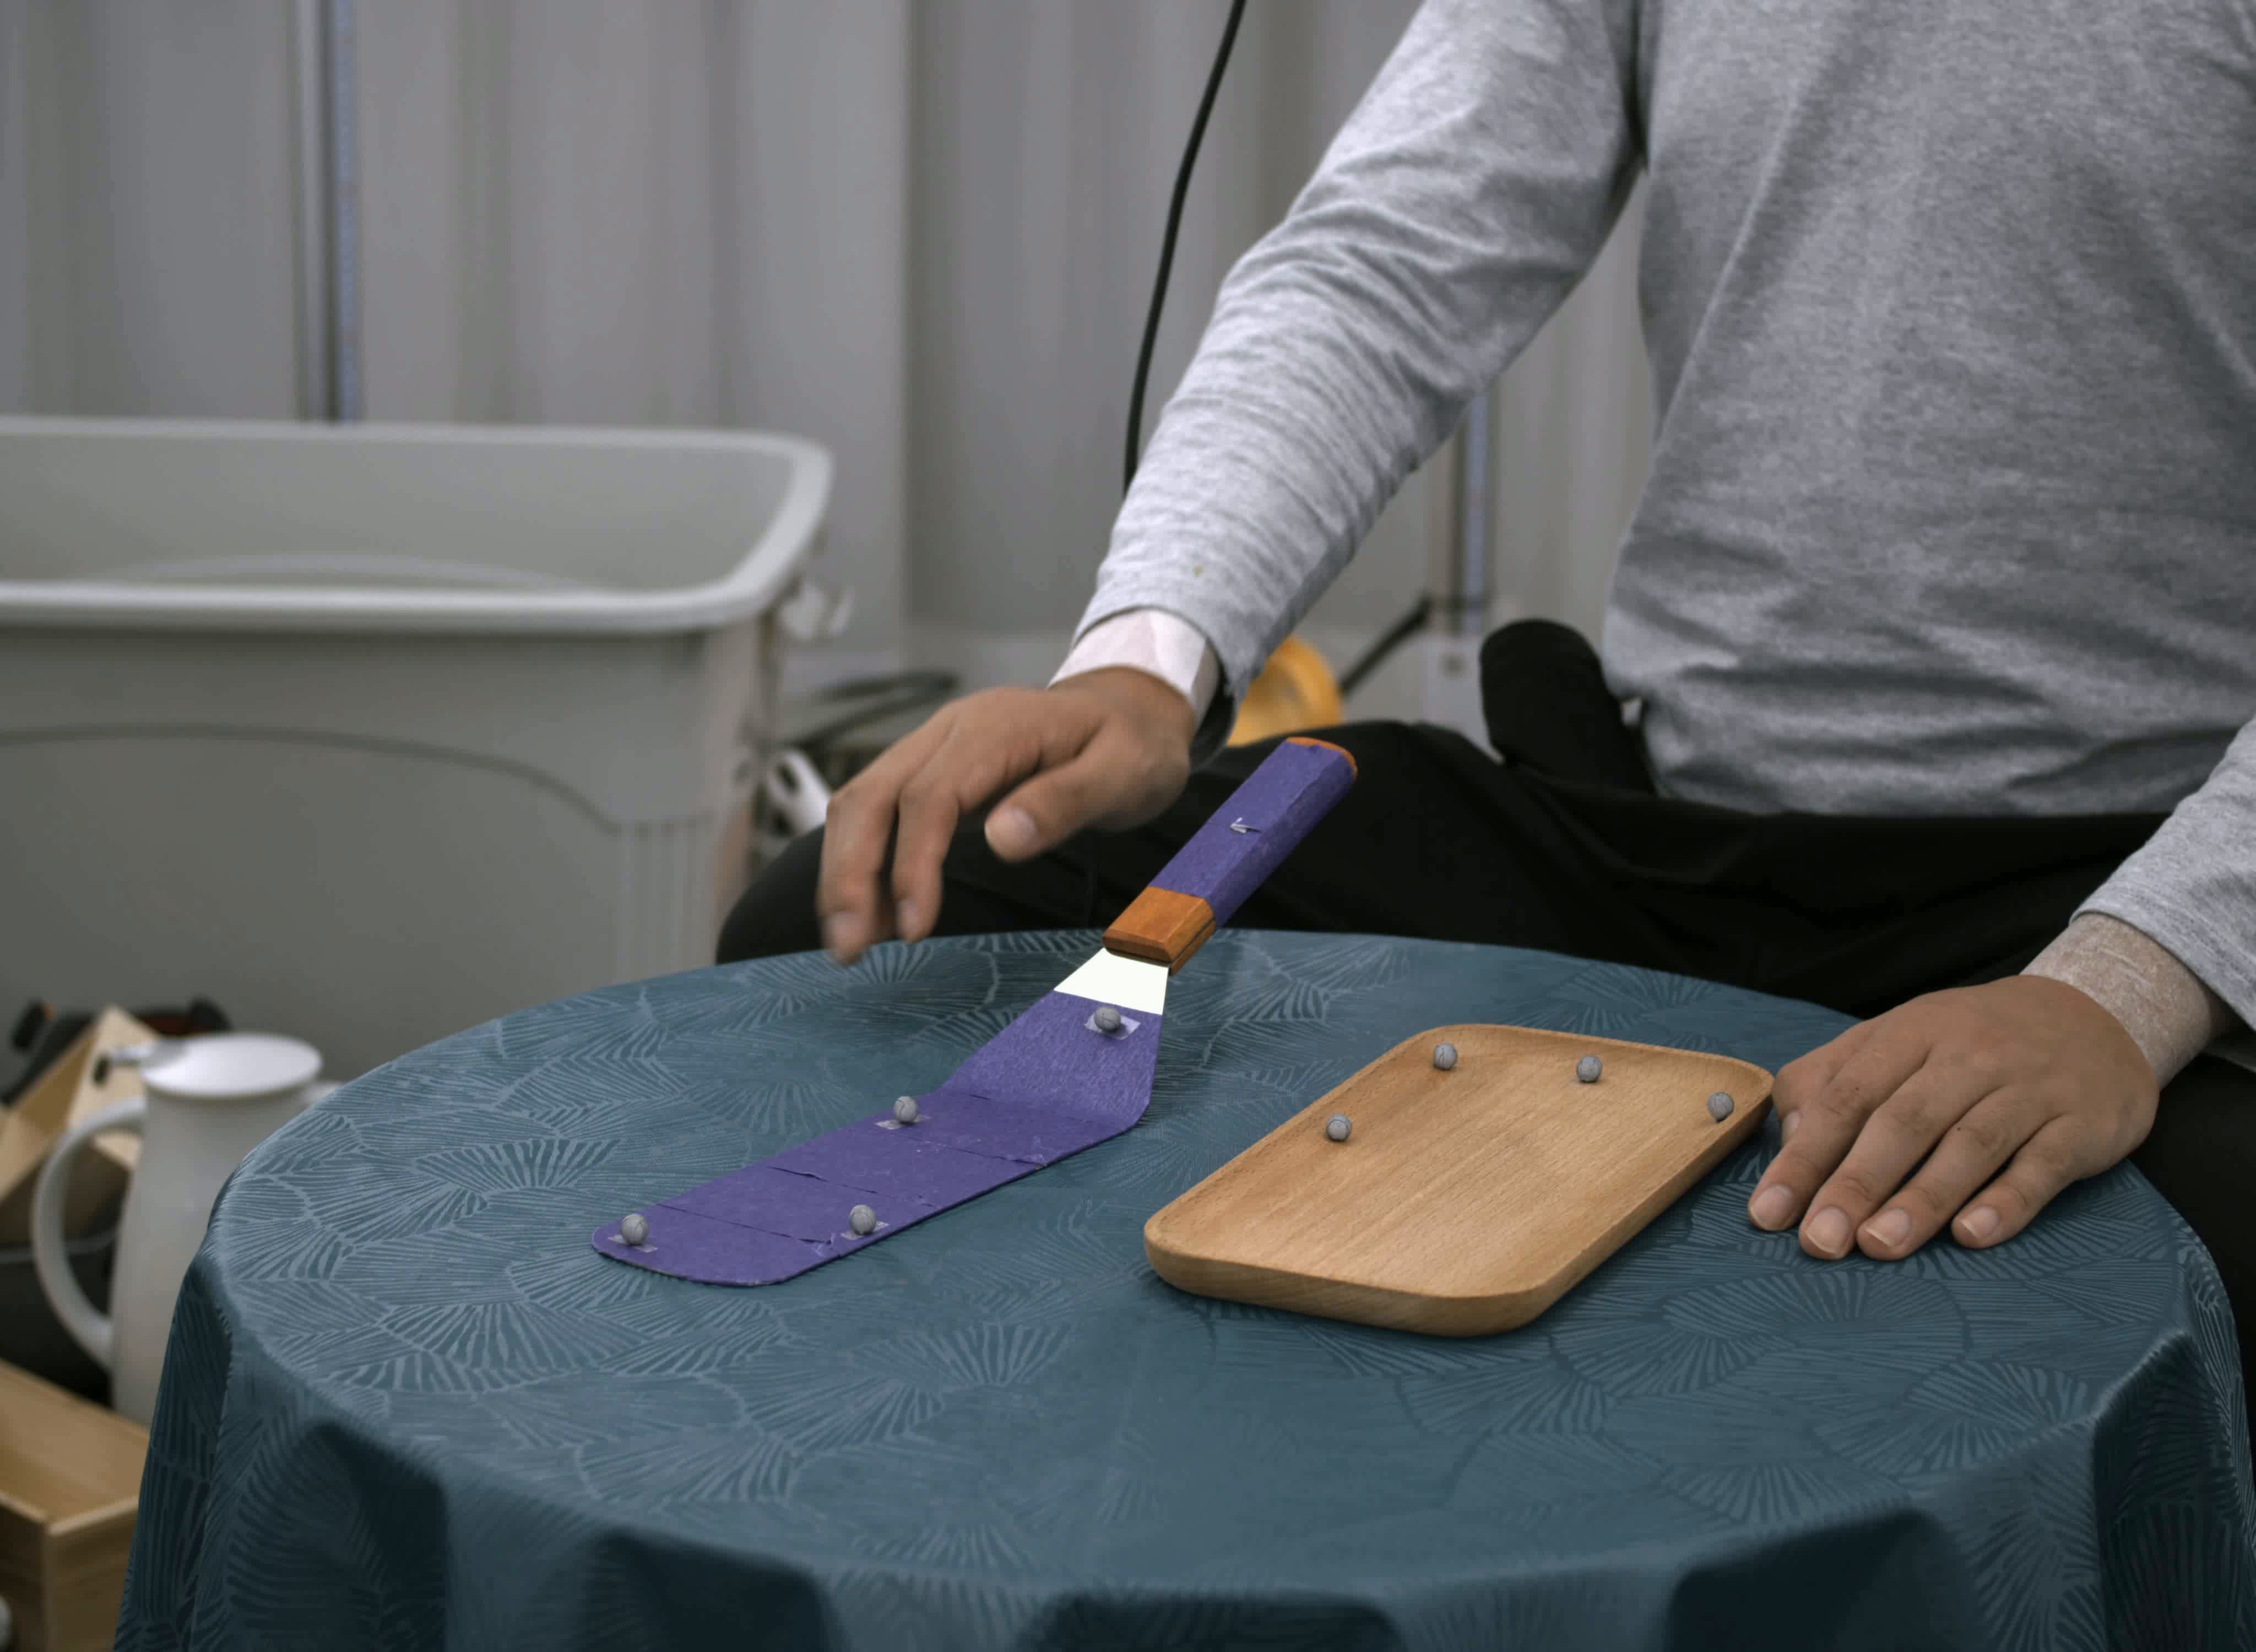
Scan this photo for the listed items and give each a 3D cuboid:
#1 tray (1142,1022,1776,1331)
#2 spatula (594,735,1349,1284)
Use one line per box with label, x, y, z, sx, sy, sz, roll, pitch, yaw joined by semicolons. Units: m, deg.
tray;0.106;0.105;1.623;0.129;0.023;0.251;5;16;26
spatula;-0.035;0.055;1.681;0.074;0.088;0.358;13;45;32
